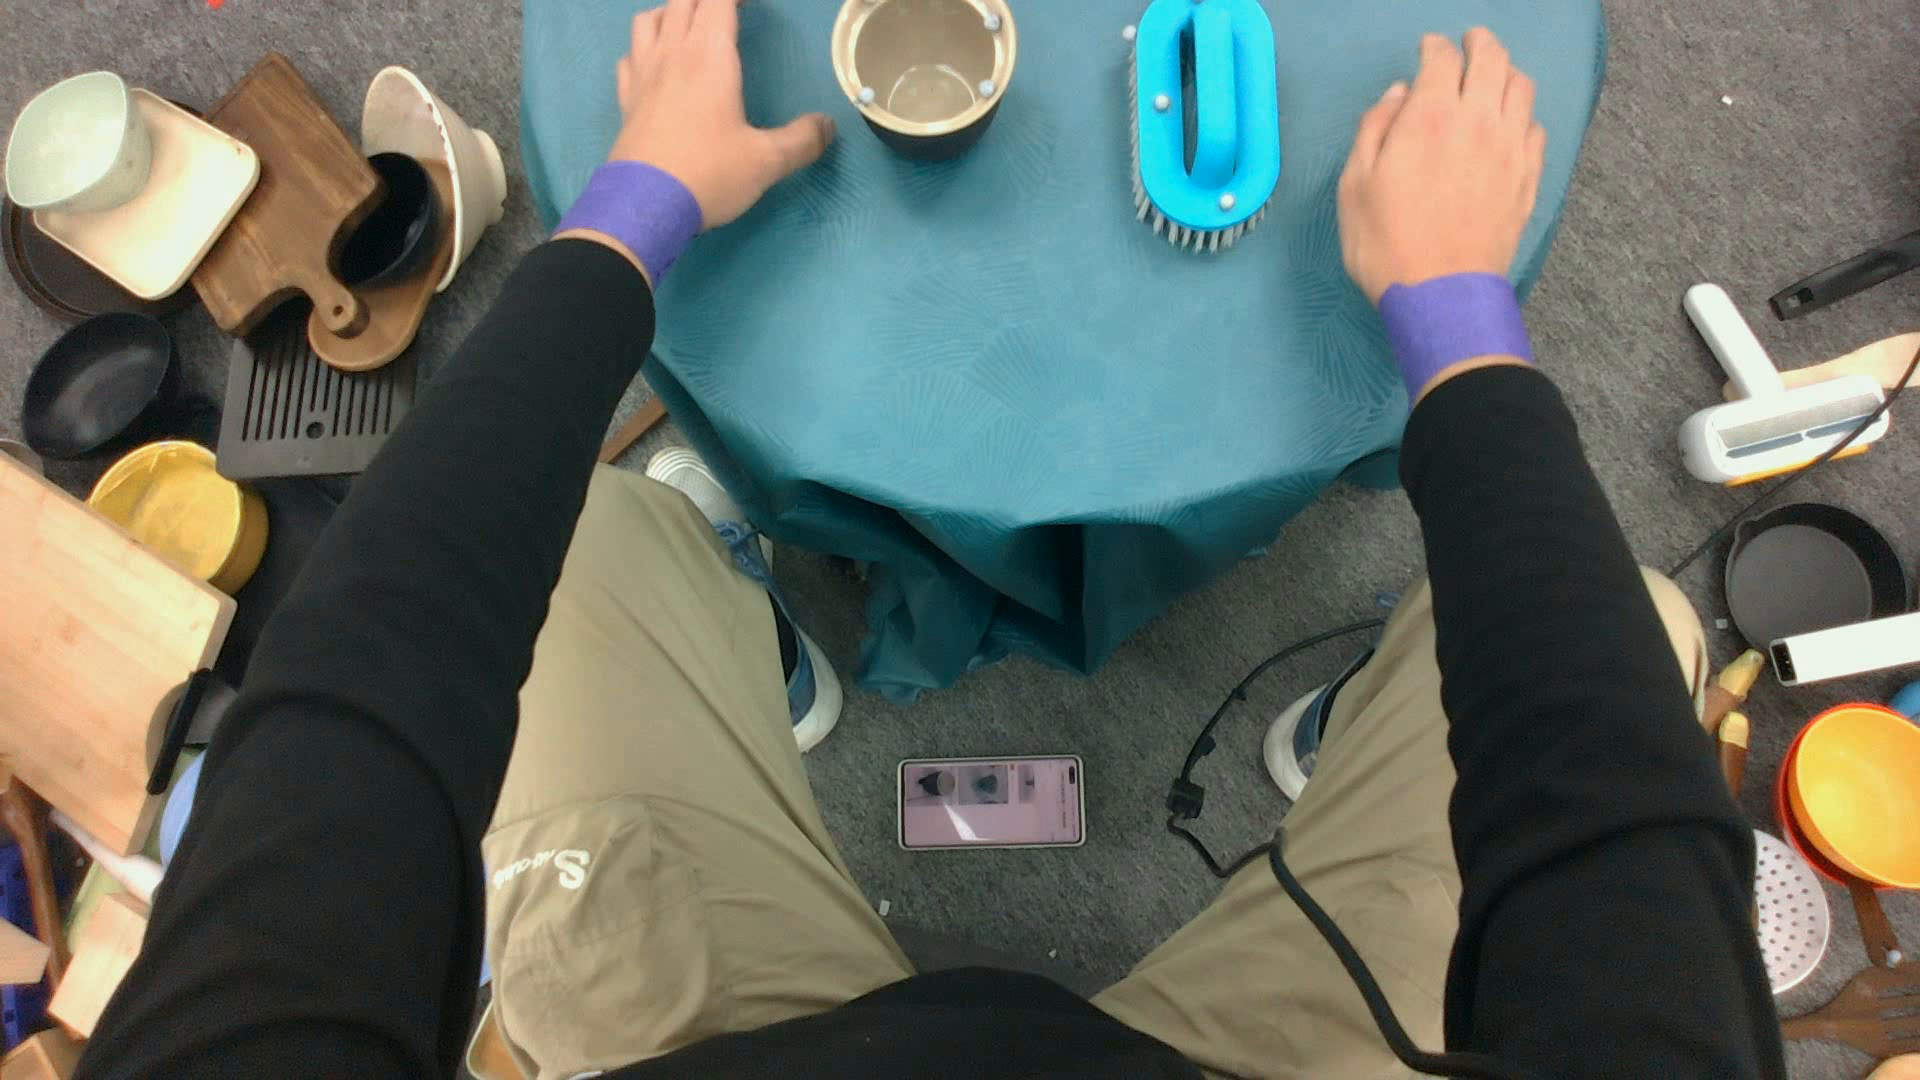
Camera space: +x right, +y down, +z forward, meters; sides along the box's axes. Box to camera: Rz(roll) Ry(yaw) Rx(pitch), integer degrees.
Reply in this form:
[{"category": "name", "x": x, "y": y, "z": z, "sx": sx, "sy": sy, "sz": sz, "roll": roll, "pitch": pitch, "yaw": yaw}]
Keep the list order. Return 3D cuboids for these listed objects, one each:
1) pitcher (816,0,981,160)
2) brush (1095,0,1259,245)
[{"category": "pitcher", "x": -0.030, "y": -0.245, "z": 0.725, "sx": 0.083, "sy": 0.071, "sz": 0.096, "roll": 9, "pitch": 78, "yaw": 4}, {"category": "brush", "x": 0.117, "y": -0.232, "z": 0.724, "sx": 0.084, "sy": 0.063, "sz": 0.142, "roll": 1, "pitch": 80, "yaw": -3}]
